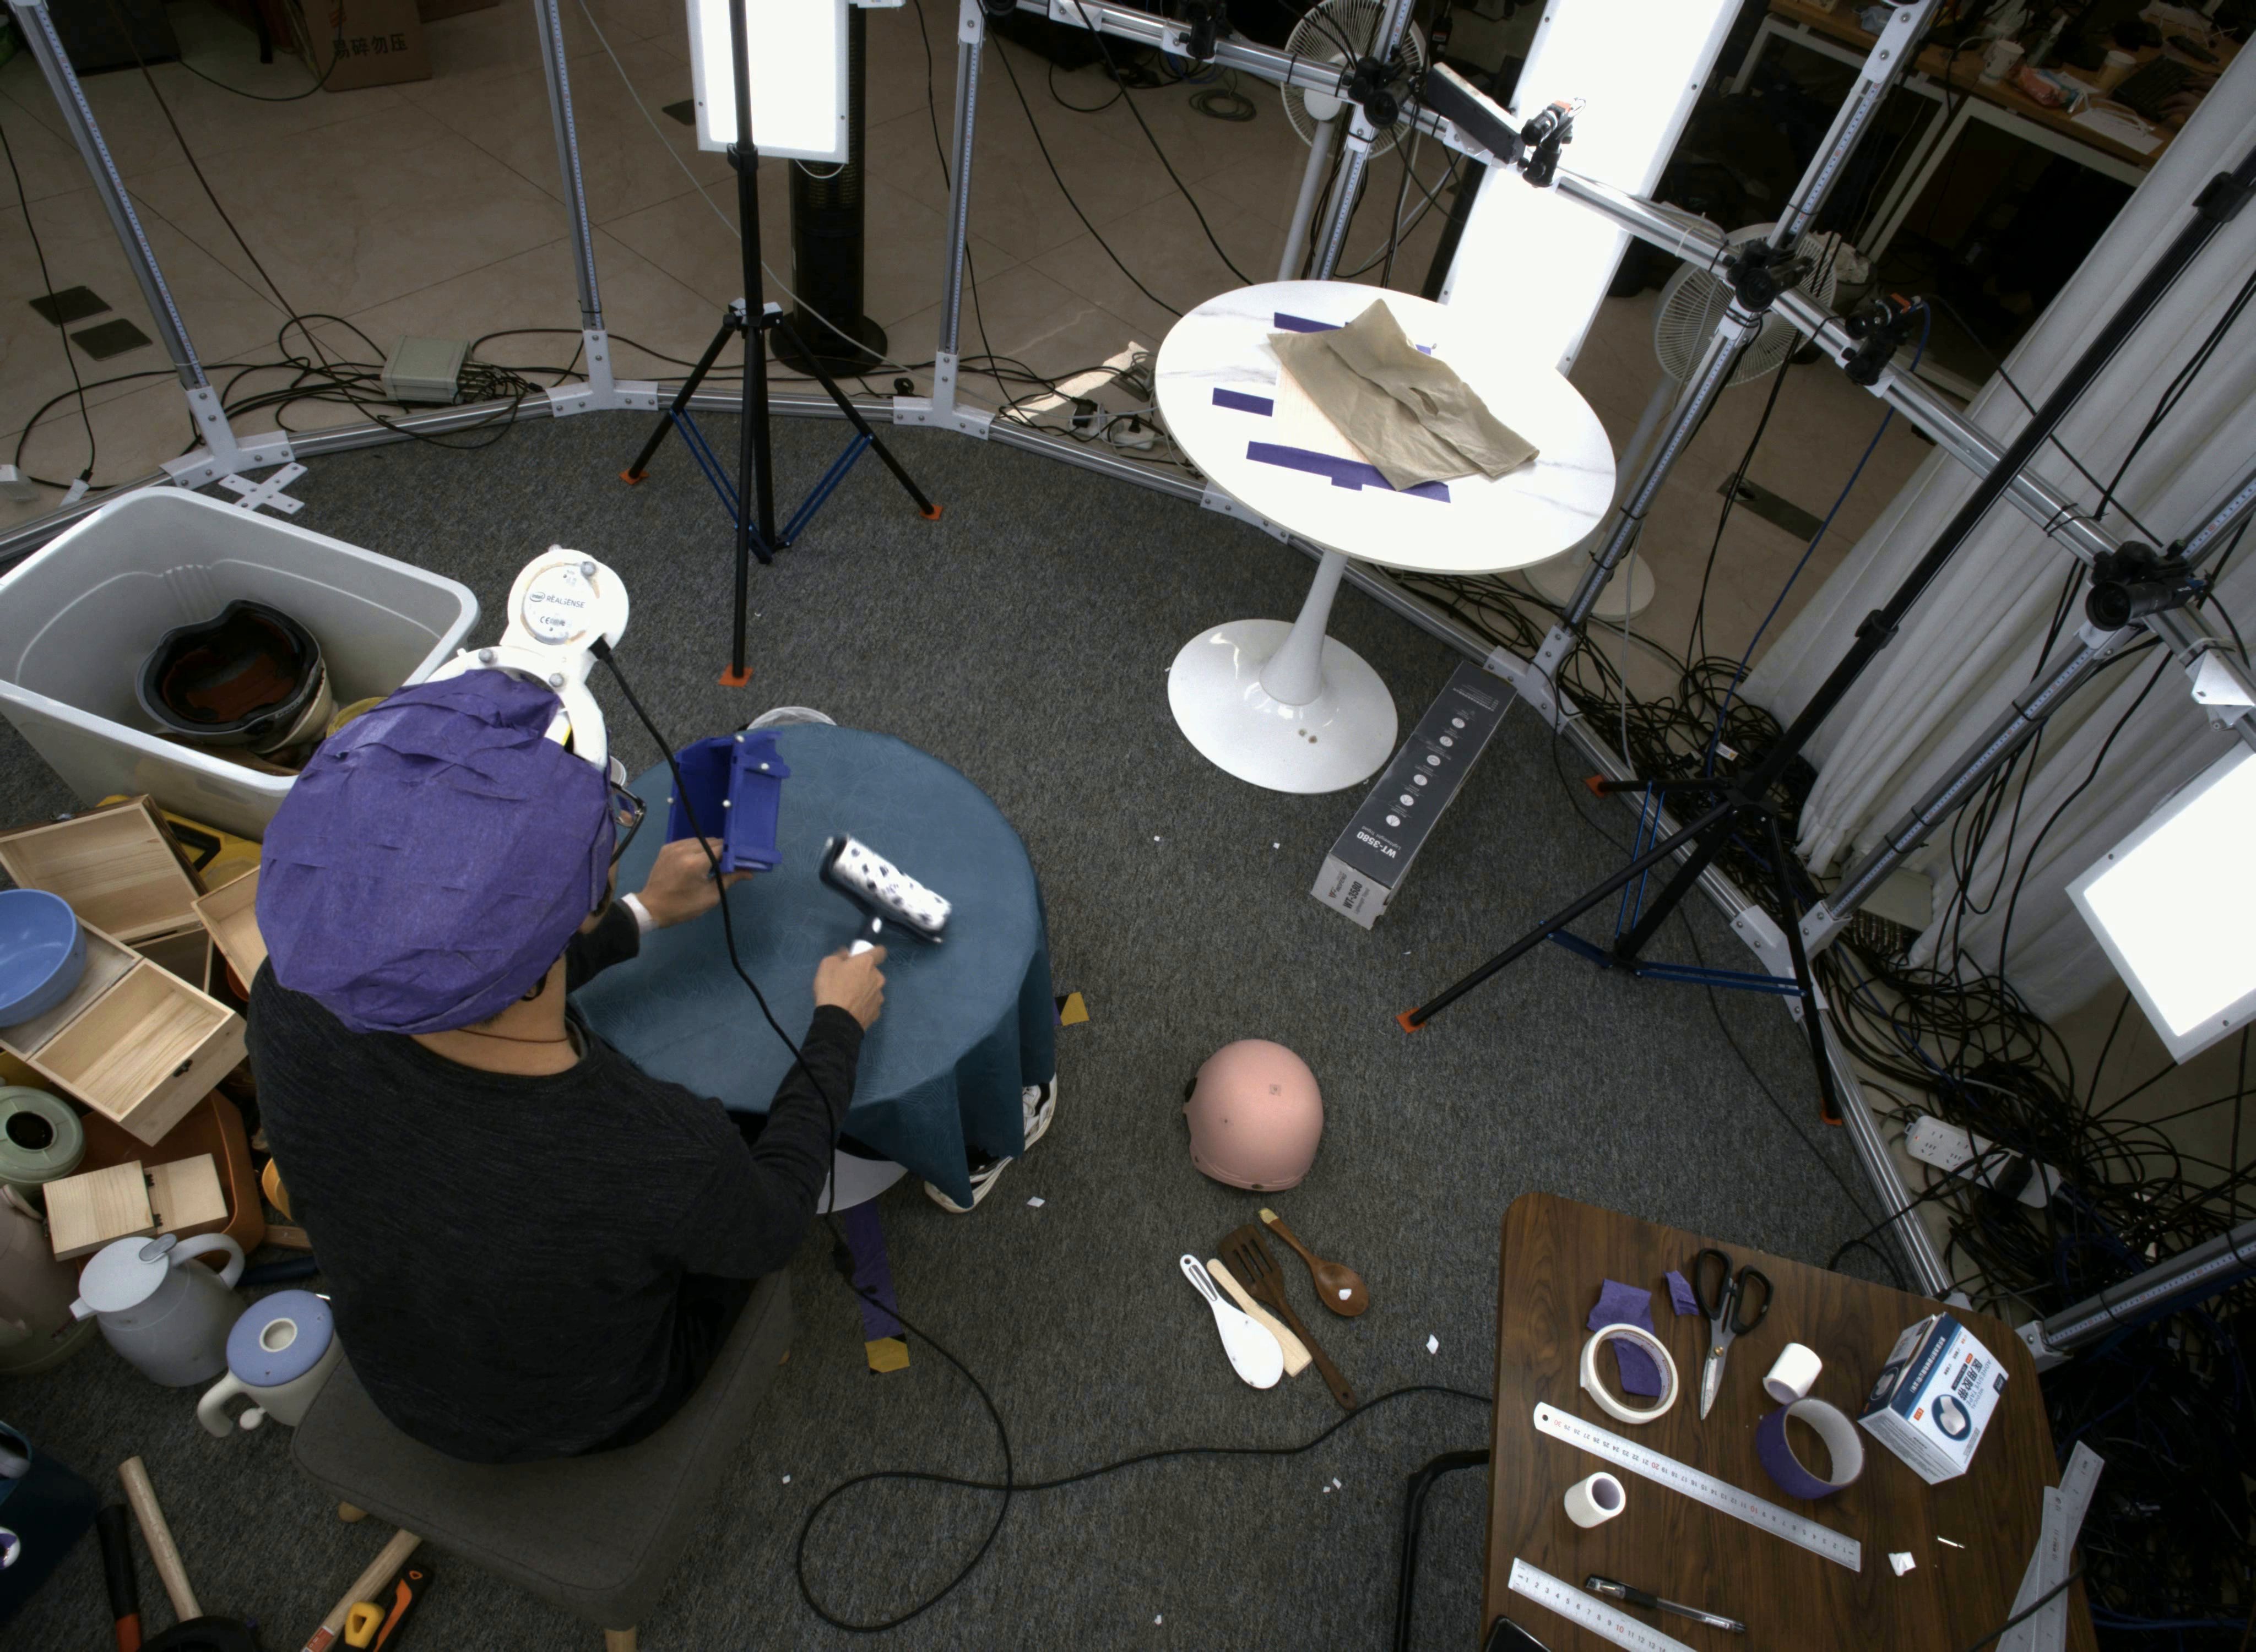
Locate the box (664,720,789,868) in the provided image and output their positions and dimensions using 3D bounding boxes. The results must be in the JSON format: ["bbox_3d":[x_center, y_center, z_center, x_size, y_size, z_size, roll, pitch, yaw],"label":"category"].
[{"bbox_3d":[-0.481,-0.038,1.545,0.120,0.084,0.181,0,85,33],"label":"box"}]

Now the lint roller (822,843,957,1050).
[{"bbox_3d":[-0.310,0.154,1.562,0.180,0.050,0.243,32,47,-24],"label":"lint roller"}]
